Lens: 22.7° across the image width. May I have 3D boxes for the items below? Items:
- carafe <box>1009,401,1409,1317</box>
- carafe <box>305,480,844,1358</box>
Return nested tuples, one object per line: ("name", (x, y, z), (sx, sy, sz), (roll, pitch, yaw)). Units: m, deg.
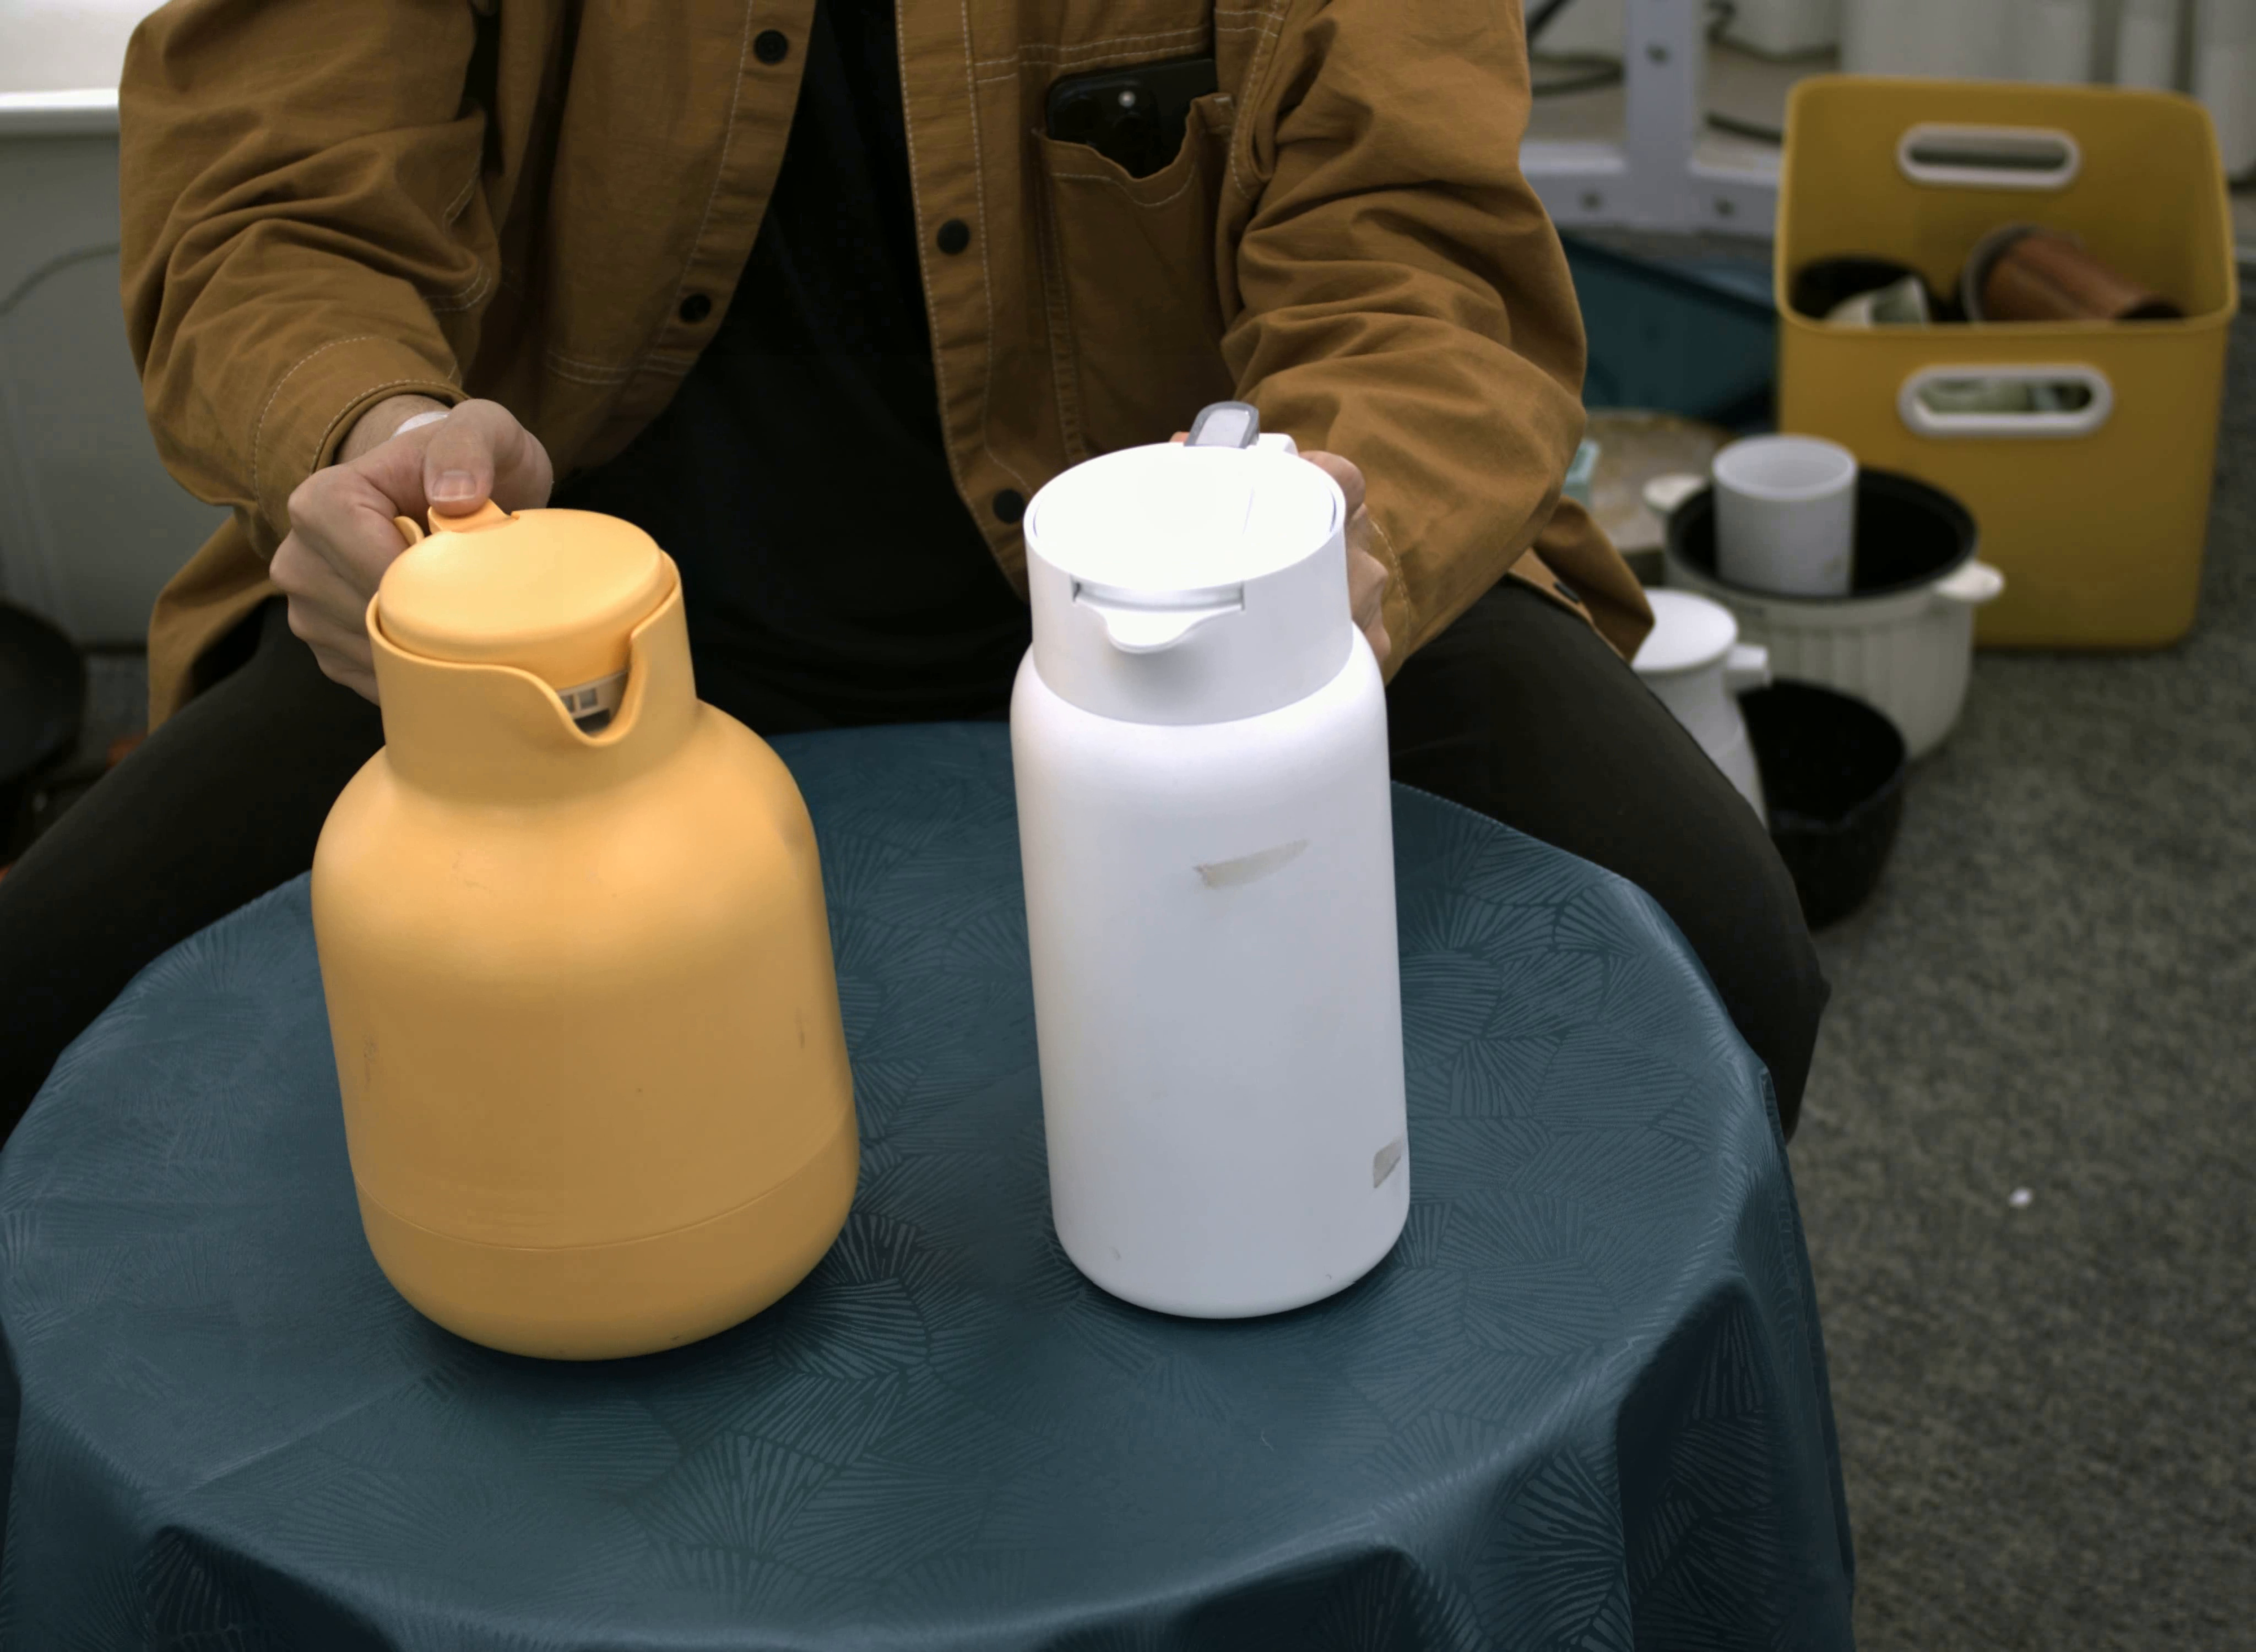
("carafe", (0.028, 0.007, 1.784), (0.123, 0.266, 0.176), (0, 29, 13))
("carafe", (-0.183, 0.019, 1.787), (0.164, 0.257, 0.204), (-12, 29, -19))
